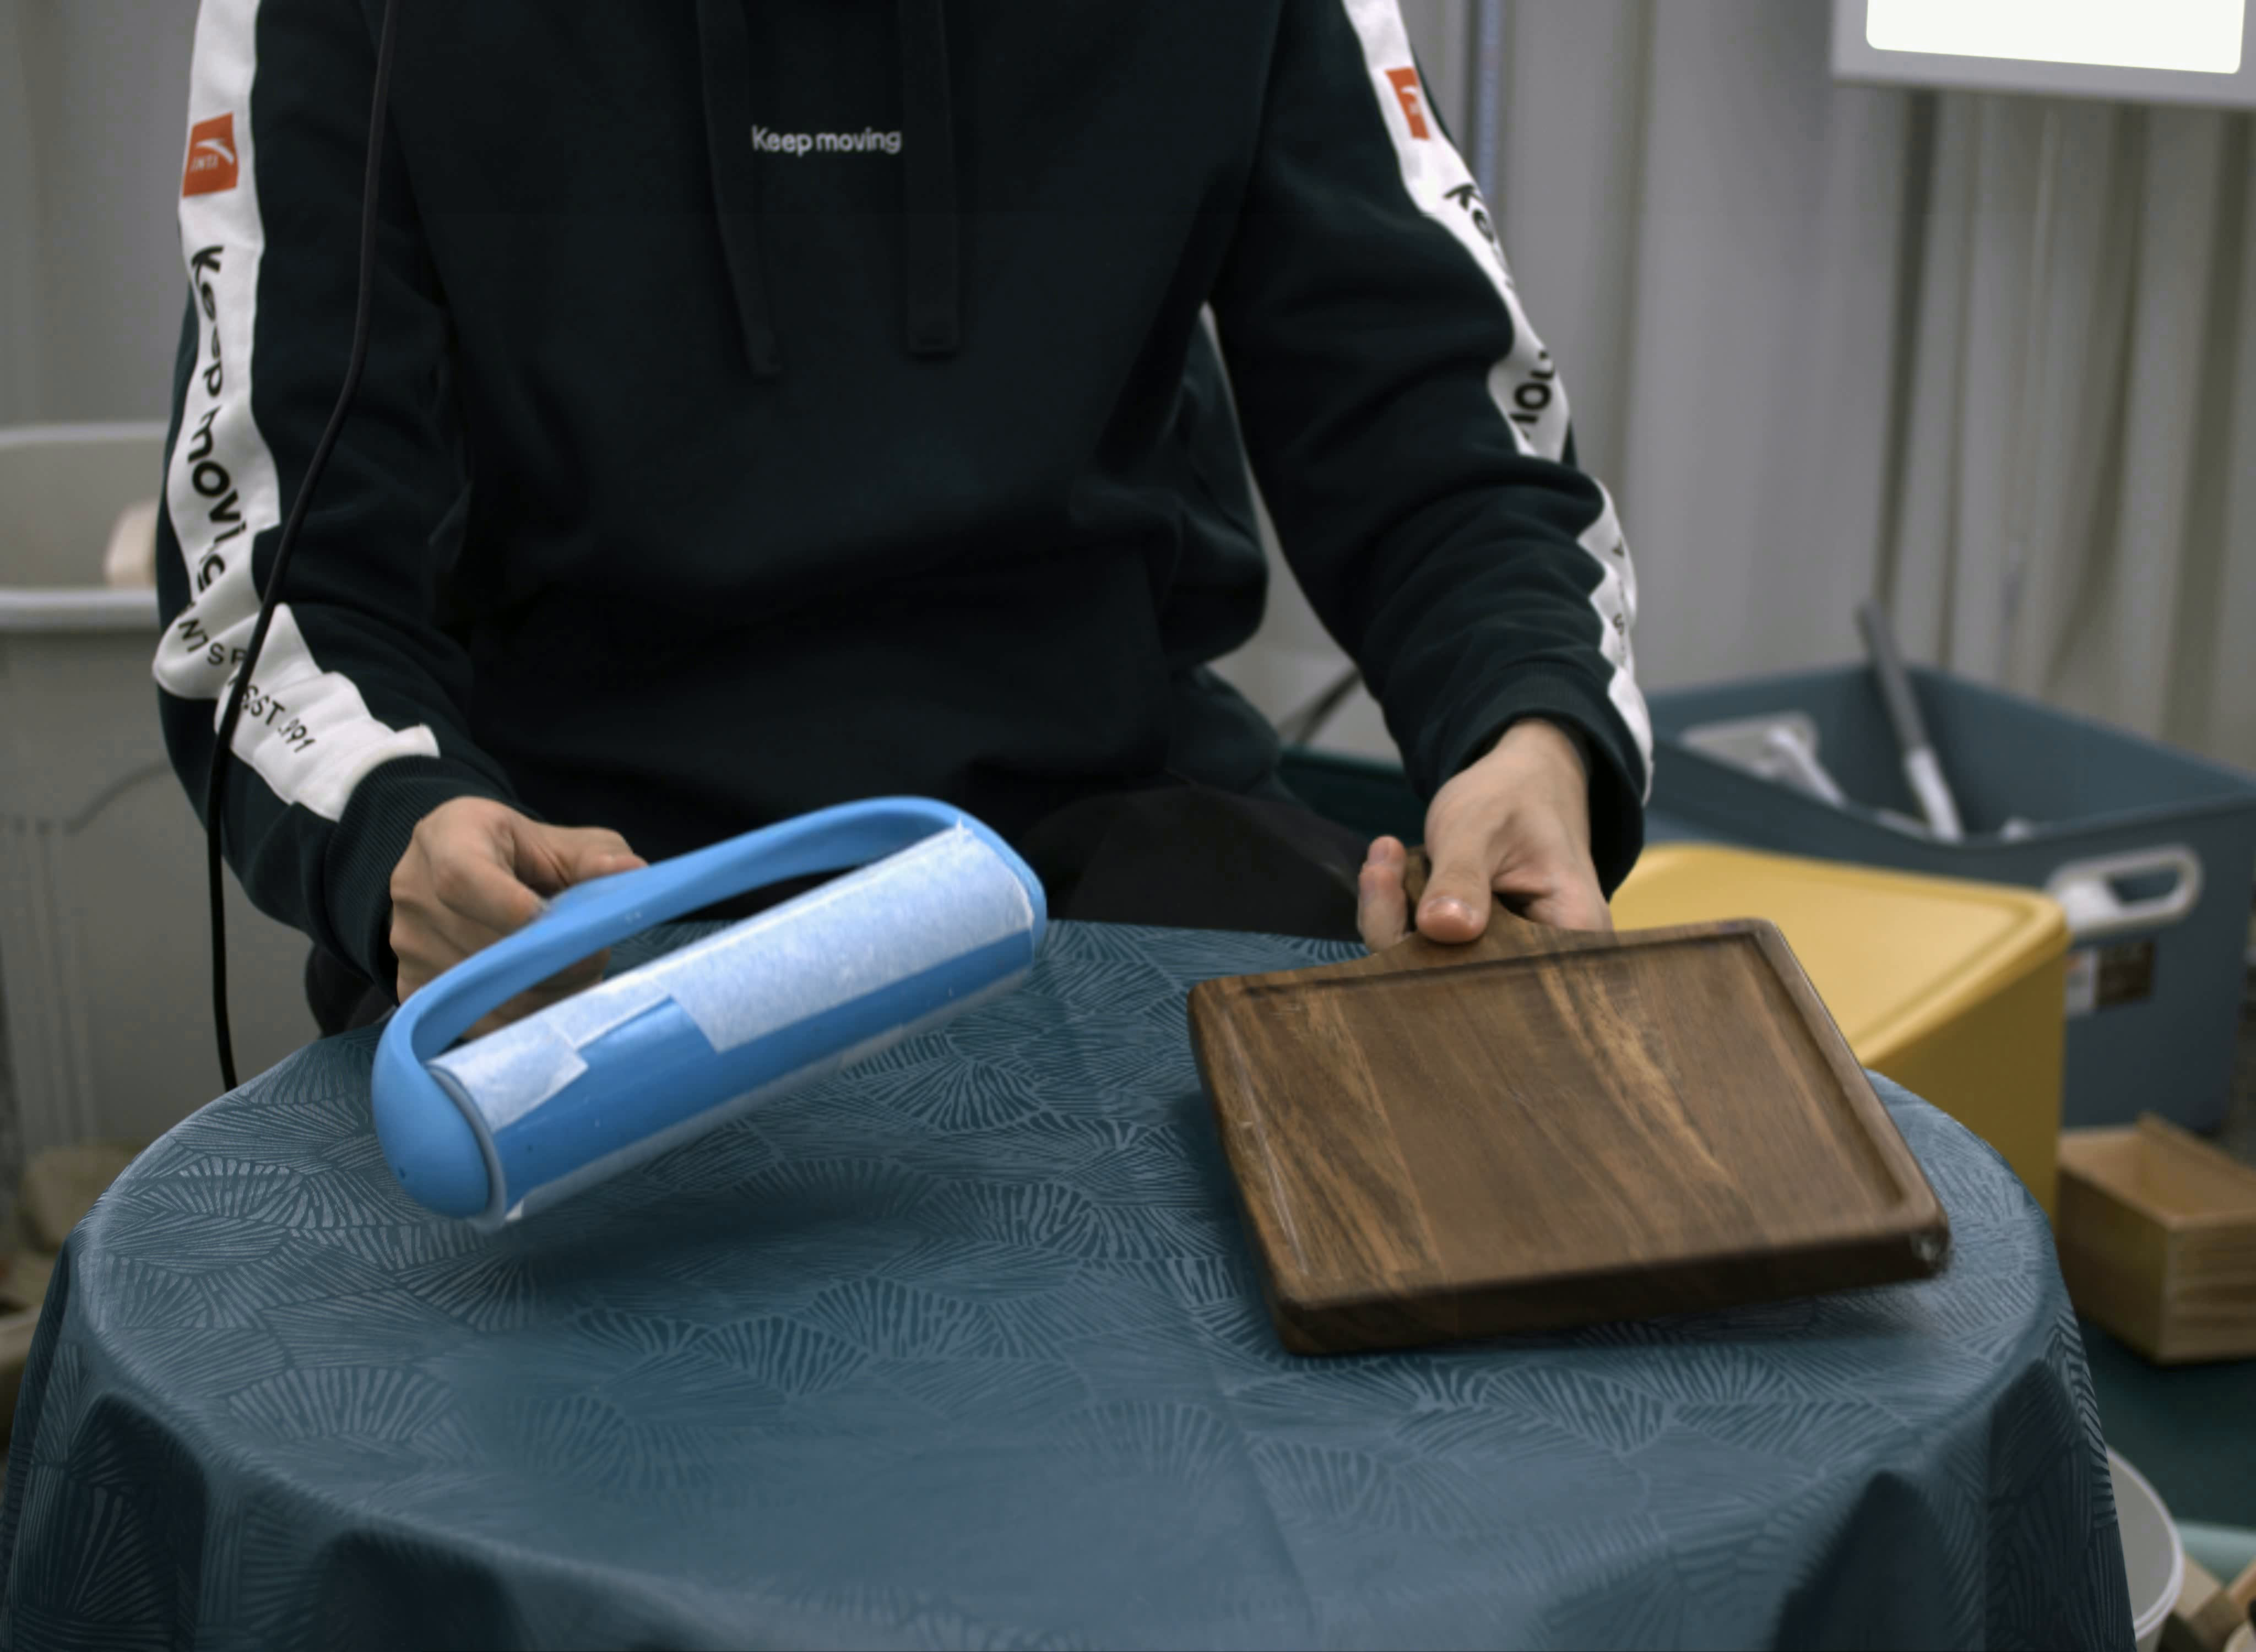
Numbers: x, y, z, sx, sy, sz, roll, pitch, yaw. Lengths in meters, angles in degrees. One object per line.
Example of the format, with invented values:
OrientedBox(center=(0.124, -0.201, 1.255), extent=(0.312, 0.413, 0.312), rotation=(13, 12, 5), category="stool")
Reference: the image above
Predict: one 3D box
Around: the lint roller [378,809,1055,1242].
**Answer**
OrientedBox(center=(-0.154, 0.051, 1.611), extent=(0.229, 0.068, 0.178), rotation=(-27, 26, -32), category="lint roller")

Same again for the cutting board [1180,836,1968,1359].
OrientedBox(center=(0.123, 0.074, 1.647), extent=(0.201, 0.023, 0.349), rotation=(-4, 21, -5), category="cutting board")
